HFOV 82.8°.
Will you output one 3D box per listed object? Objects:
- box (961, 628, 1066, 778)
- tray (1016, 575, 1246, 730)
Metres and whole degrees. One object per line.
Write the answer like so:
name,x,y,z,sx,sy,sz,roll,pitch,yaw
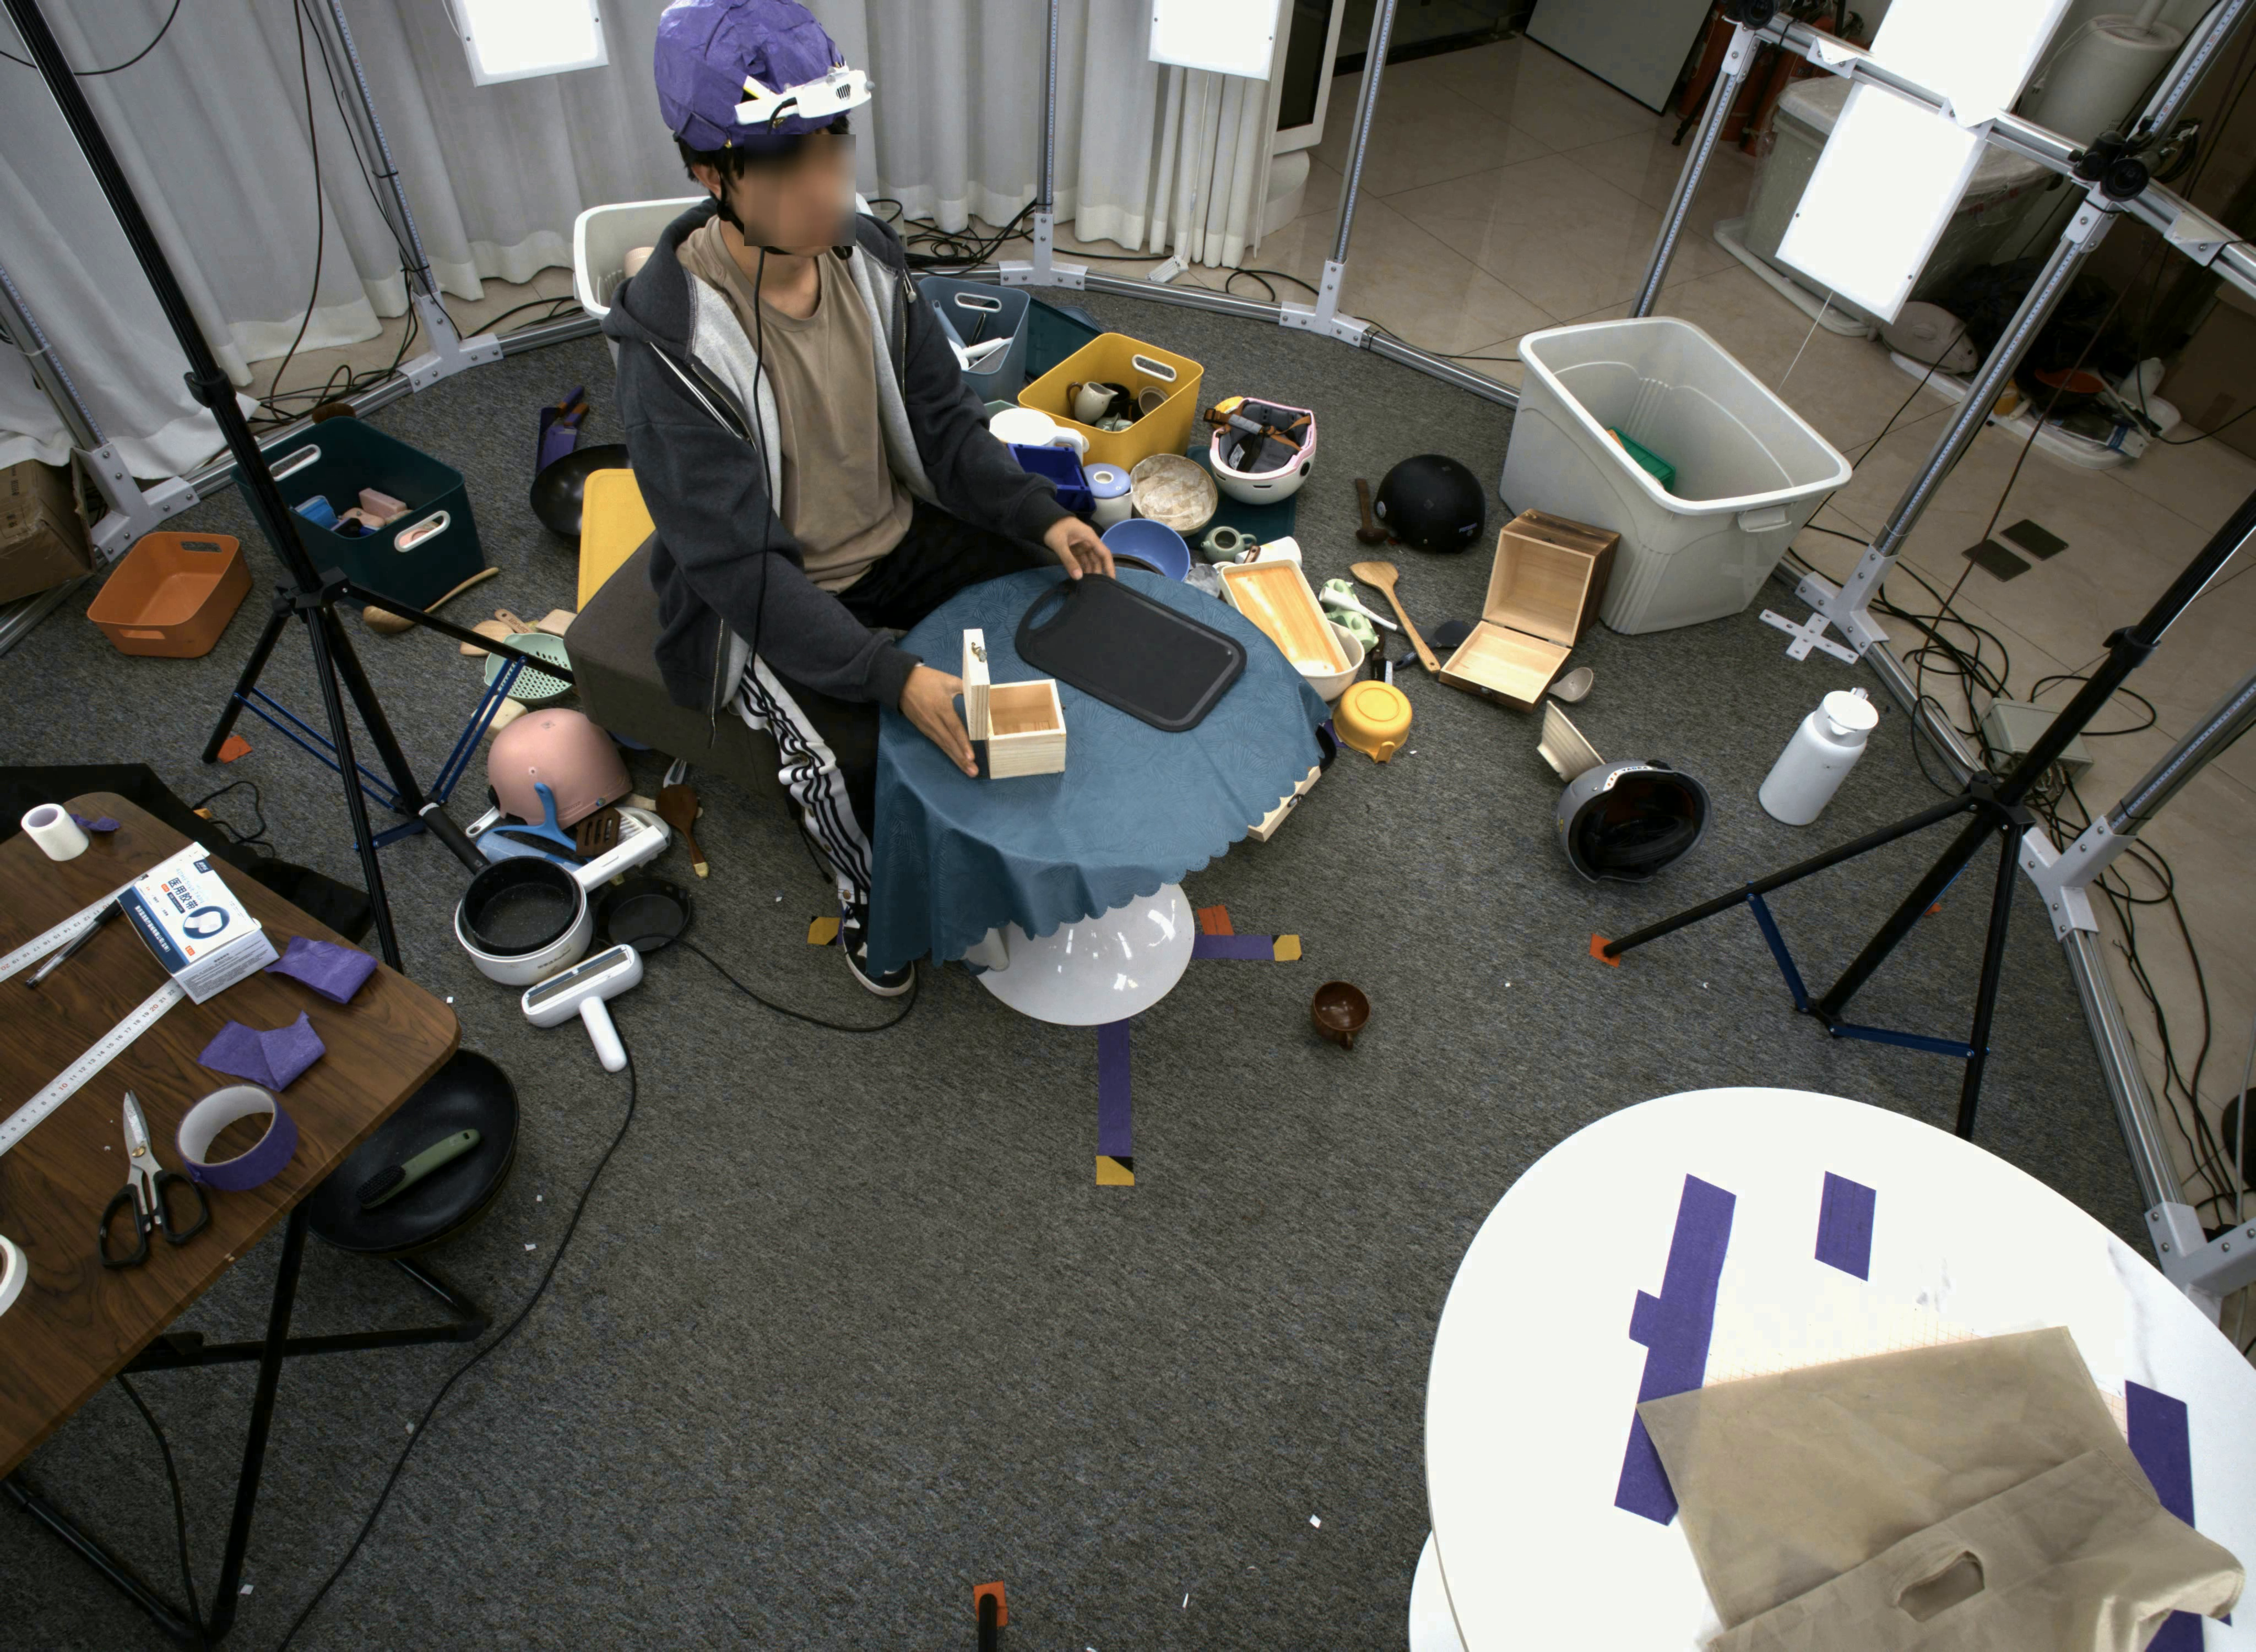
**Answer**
box,-0.147,-0.163,1.678,0.134,0.180,0.105,-7,51,-9
tray,-0.003,-0.262,1.879,0.328,0.009,0.214,29,57,19
